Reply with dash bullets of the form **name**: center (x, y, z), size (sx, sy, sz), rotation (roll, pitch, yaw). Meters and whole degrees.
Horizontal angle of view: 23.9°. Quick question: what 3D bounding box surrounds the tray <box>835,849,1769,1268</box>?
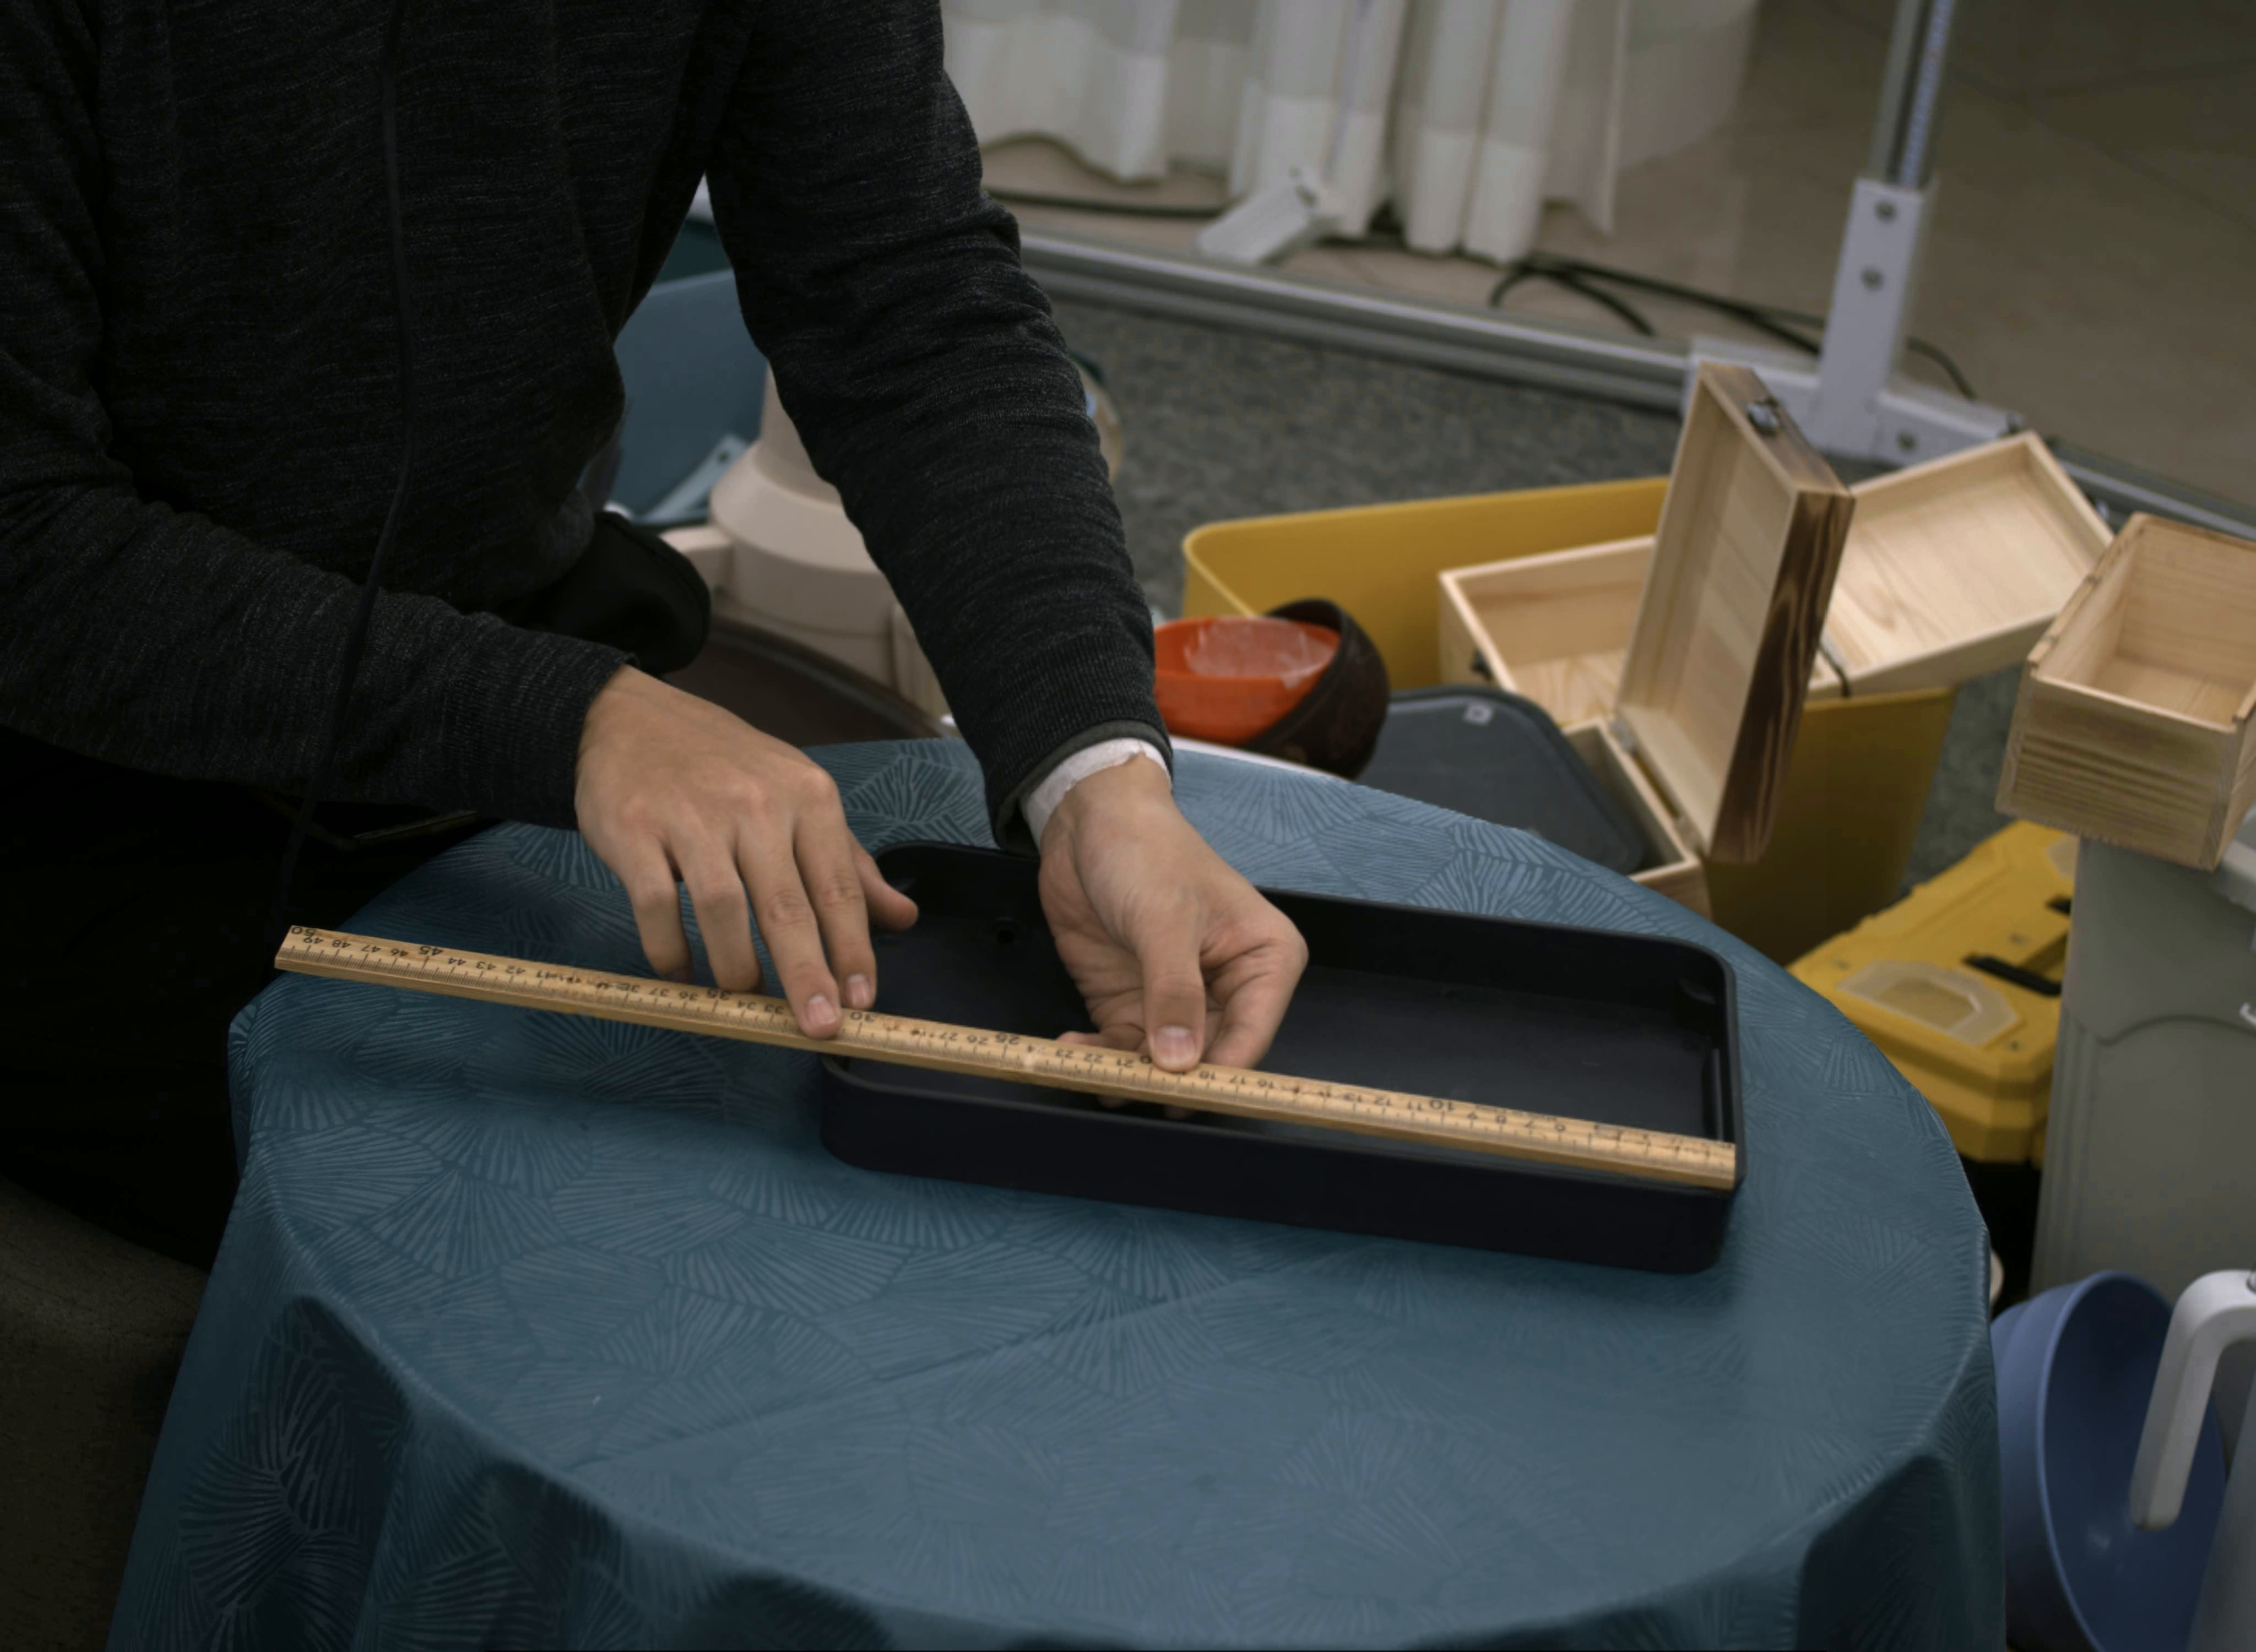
- **tray**: center (0.061, 0.079, 1.863), size (0.317, 0.037, 0.185), rotation (6, 27, 1)

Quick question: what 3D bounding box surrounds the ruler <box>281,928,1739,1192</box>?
- **ruler**: center (-0.041, 0.078, 1.802), size (0.500, 0.006, 0.027), rotation (9, 25, 5)
